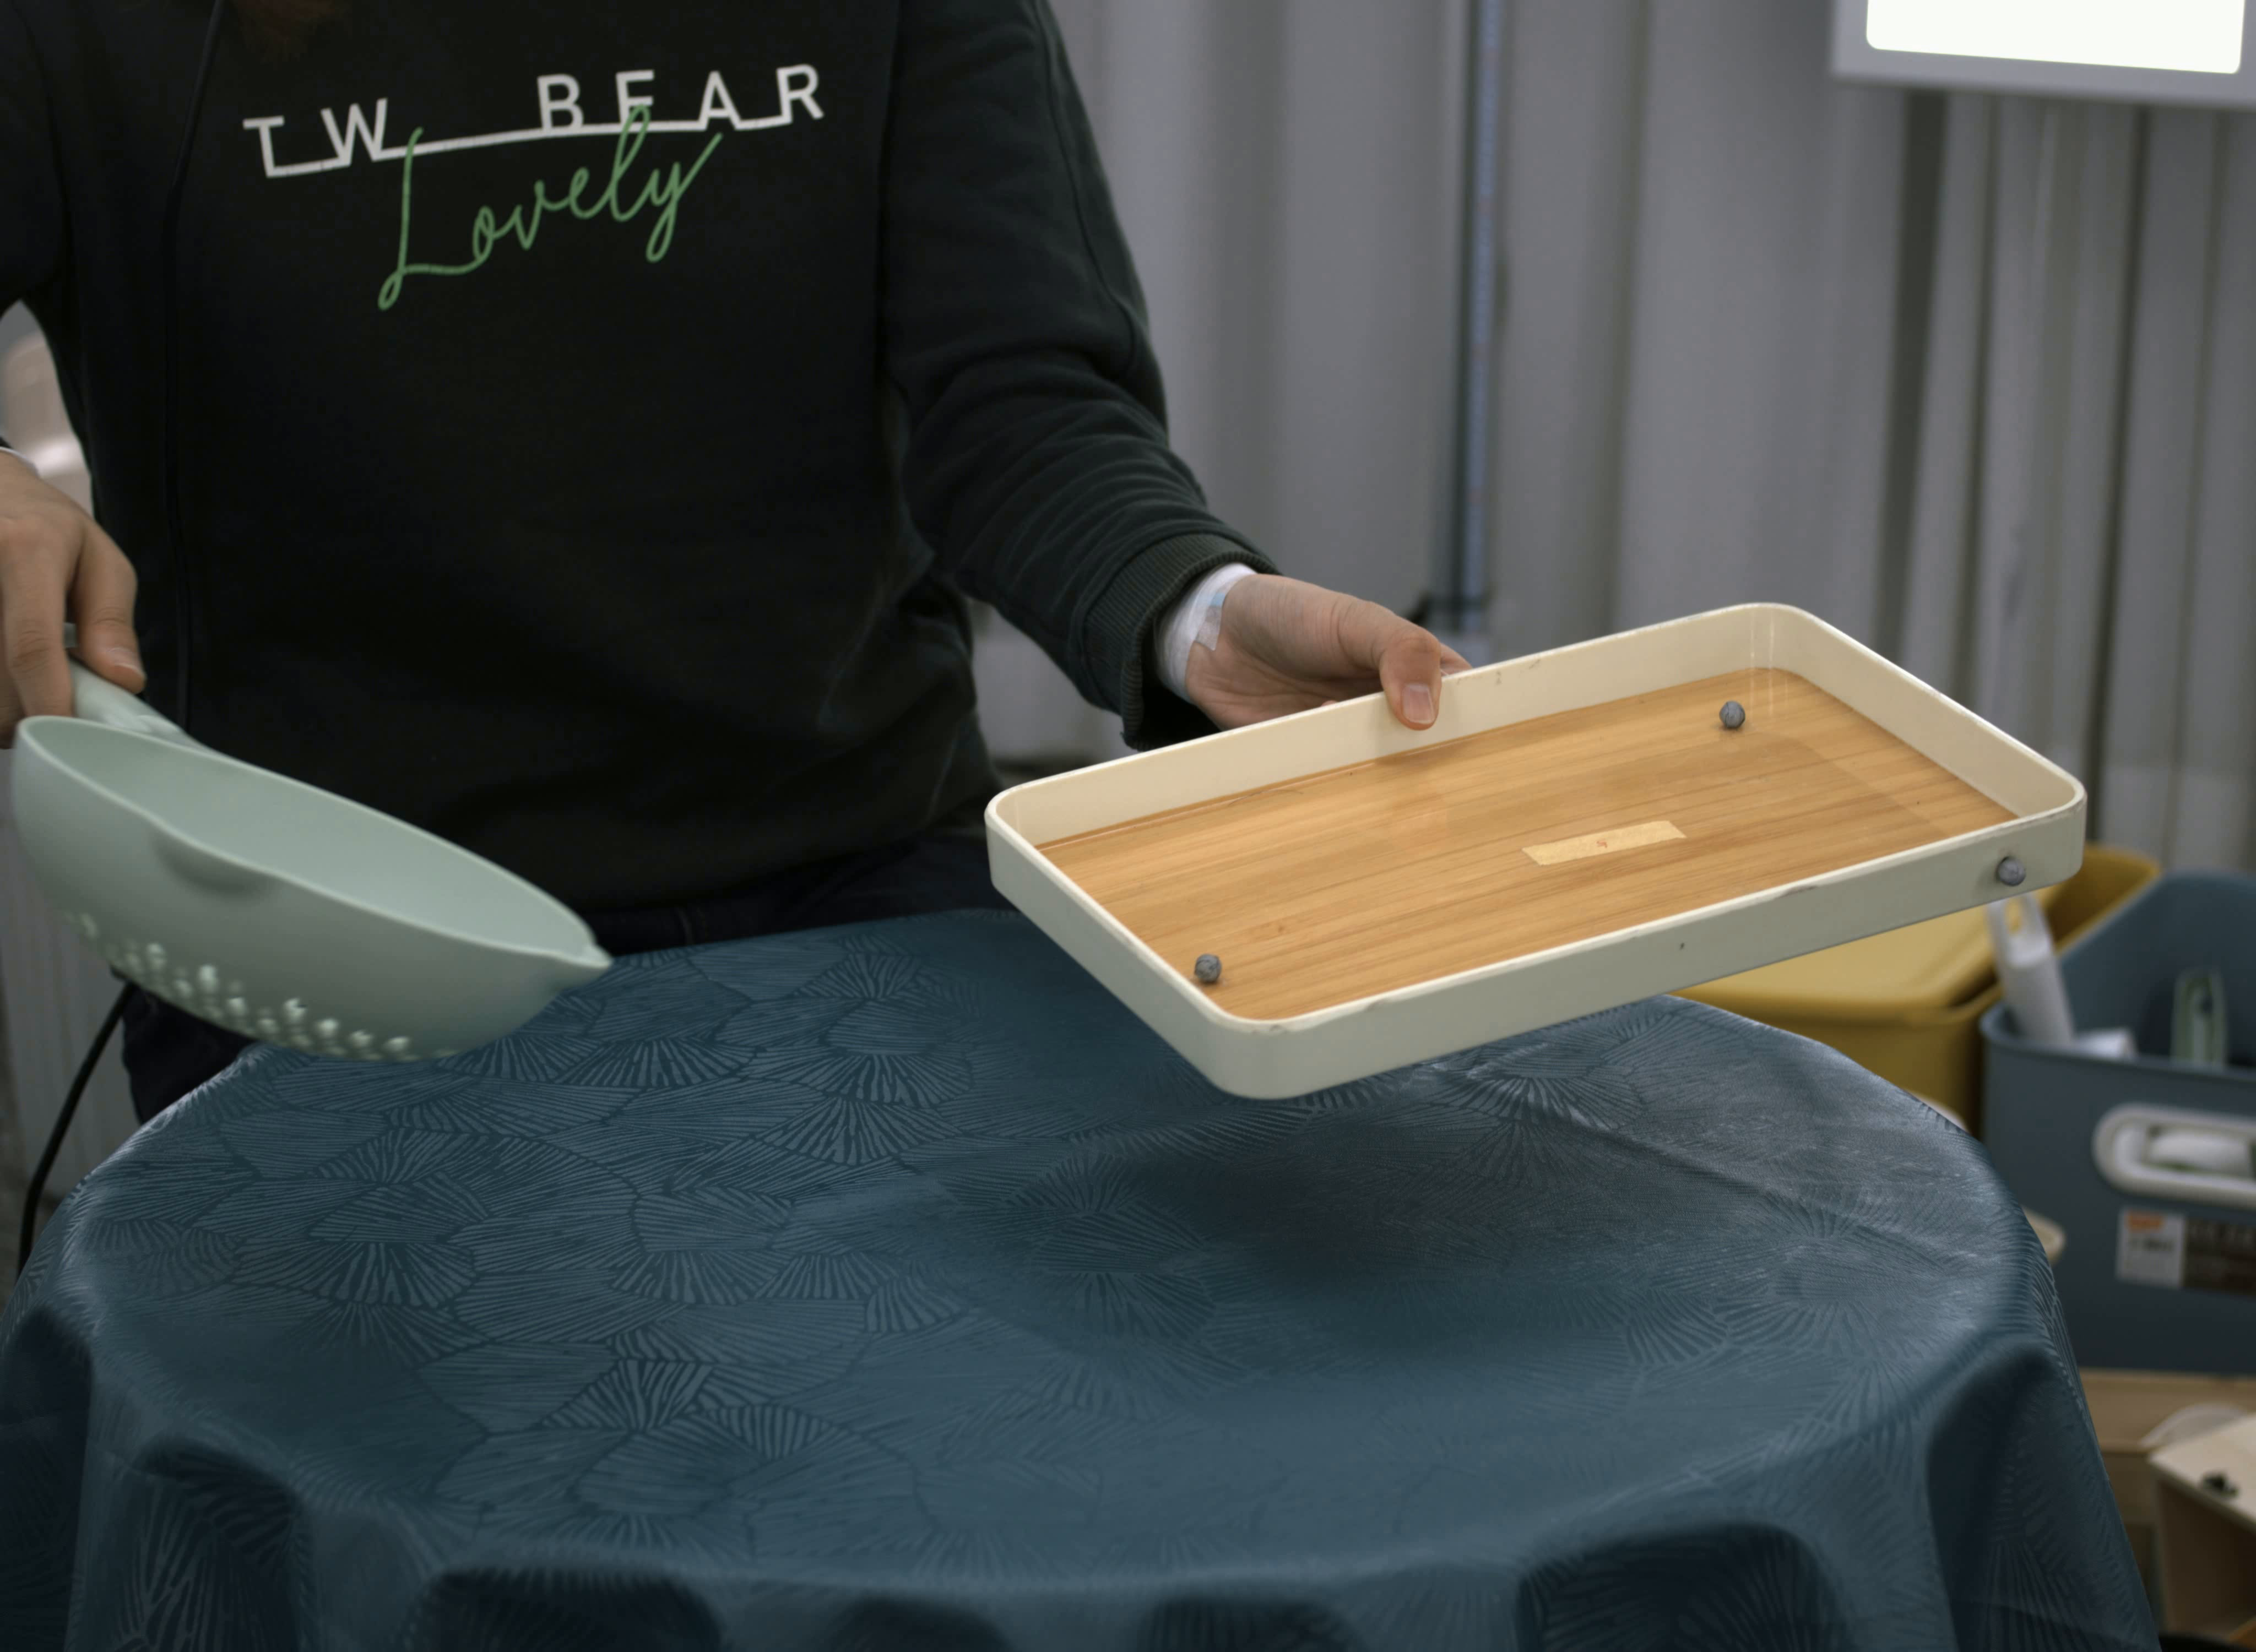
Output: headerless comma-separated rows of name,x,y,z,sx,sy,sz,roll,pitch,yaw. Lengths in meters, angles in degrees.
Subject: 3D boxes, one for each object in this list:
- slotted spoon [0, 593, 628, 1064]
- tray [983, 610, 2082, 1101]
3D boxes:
slotted spoon,-0.278,-0.016,1.527,0.171,0.075,0.354,19,15,-37
tray,0.124,0.004,1.631,0.301,0.028,0.189,-14,28,-23
